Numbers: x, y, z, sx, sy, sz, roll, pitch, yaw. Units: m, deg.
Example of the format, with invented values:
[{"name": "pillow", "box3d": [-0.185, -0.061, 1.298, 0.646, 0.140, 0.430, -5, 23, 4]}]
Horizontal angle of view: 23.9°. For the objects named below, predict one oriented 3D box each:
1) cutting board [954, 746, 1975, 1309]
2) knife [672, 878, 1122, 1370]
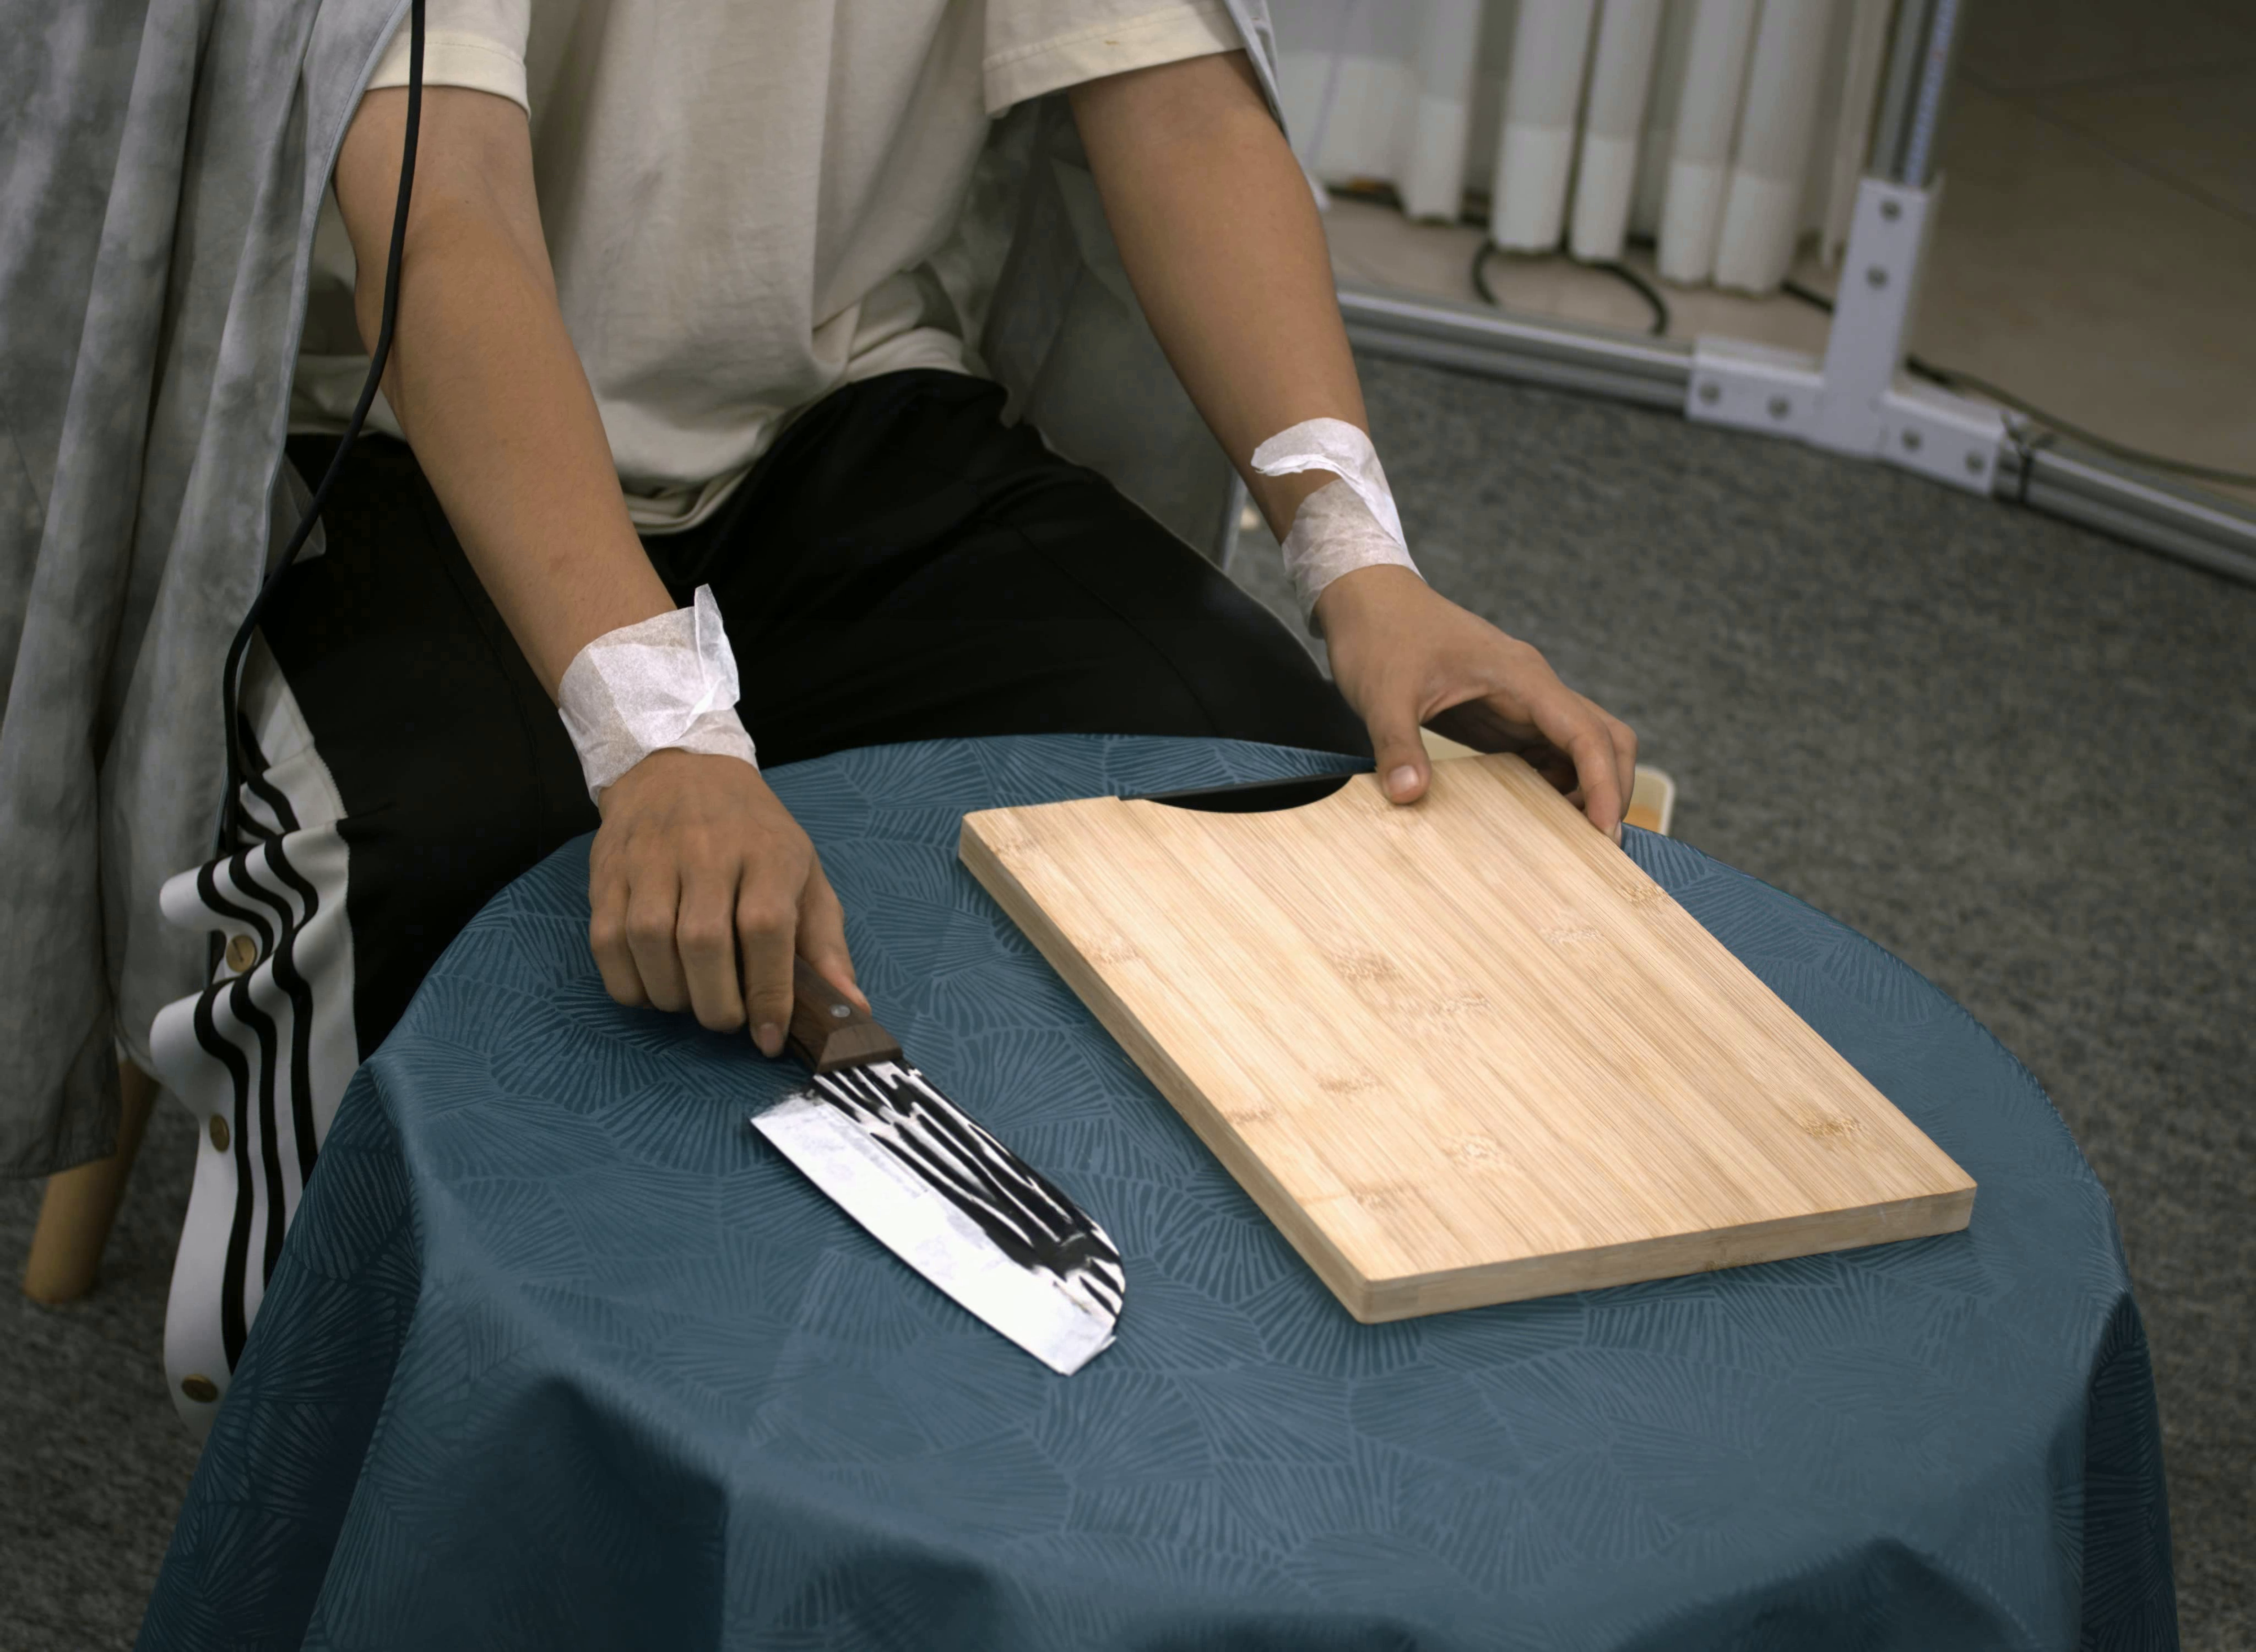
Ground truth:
[{"name": "cutting board", "box3d": [0.113, 0.066, 1.926, 0.249, 0.023, 0.352, -7, 29, -25]}, {"name": "knife", "box3d": [-0.089, 0.100, 1.811, 0.068, 0.024, 0.302, -16, 37, -32]}]
